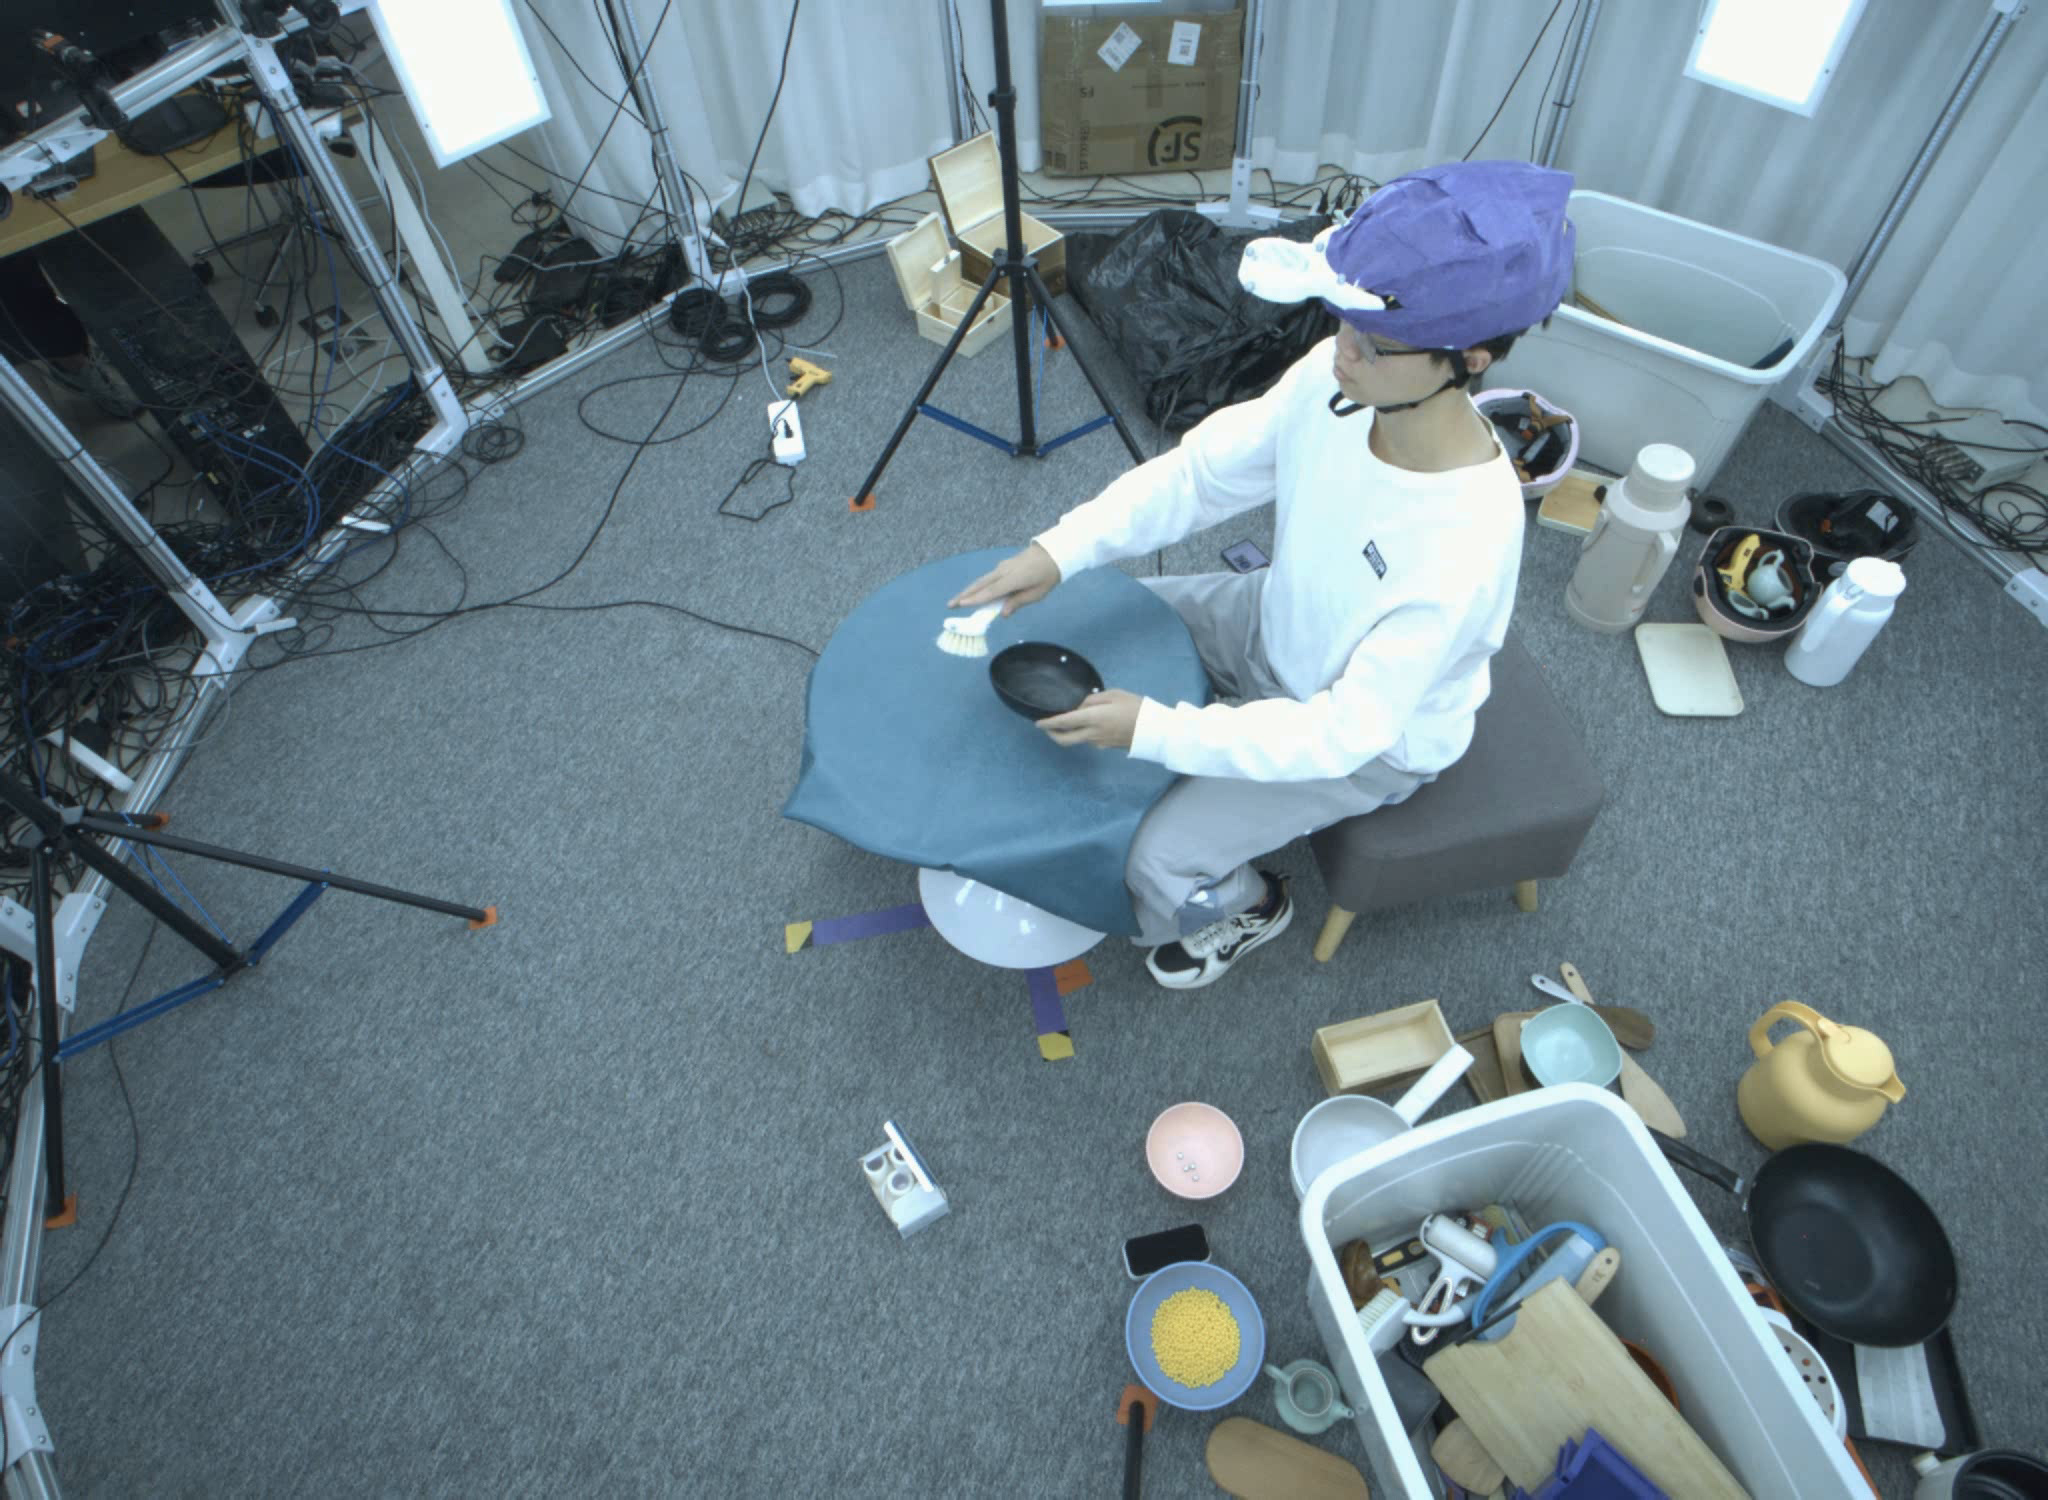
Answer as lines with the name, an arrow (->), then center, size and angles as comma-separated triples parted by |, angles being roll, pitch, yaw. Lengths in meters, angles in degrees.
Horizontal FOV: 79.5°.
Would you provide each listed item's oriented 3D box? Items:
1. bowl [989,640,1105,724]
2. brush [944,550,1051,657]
bowl -> 0.030, -0.084, 1.735 | 0.170, 0.067, 0.137 | 19, 46, 2
brush -> -0.030, -0.213, 1.787 | 0.068, 0.056, 0.268 | 24, 41, 15
